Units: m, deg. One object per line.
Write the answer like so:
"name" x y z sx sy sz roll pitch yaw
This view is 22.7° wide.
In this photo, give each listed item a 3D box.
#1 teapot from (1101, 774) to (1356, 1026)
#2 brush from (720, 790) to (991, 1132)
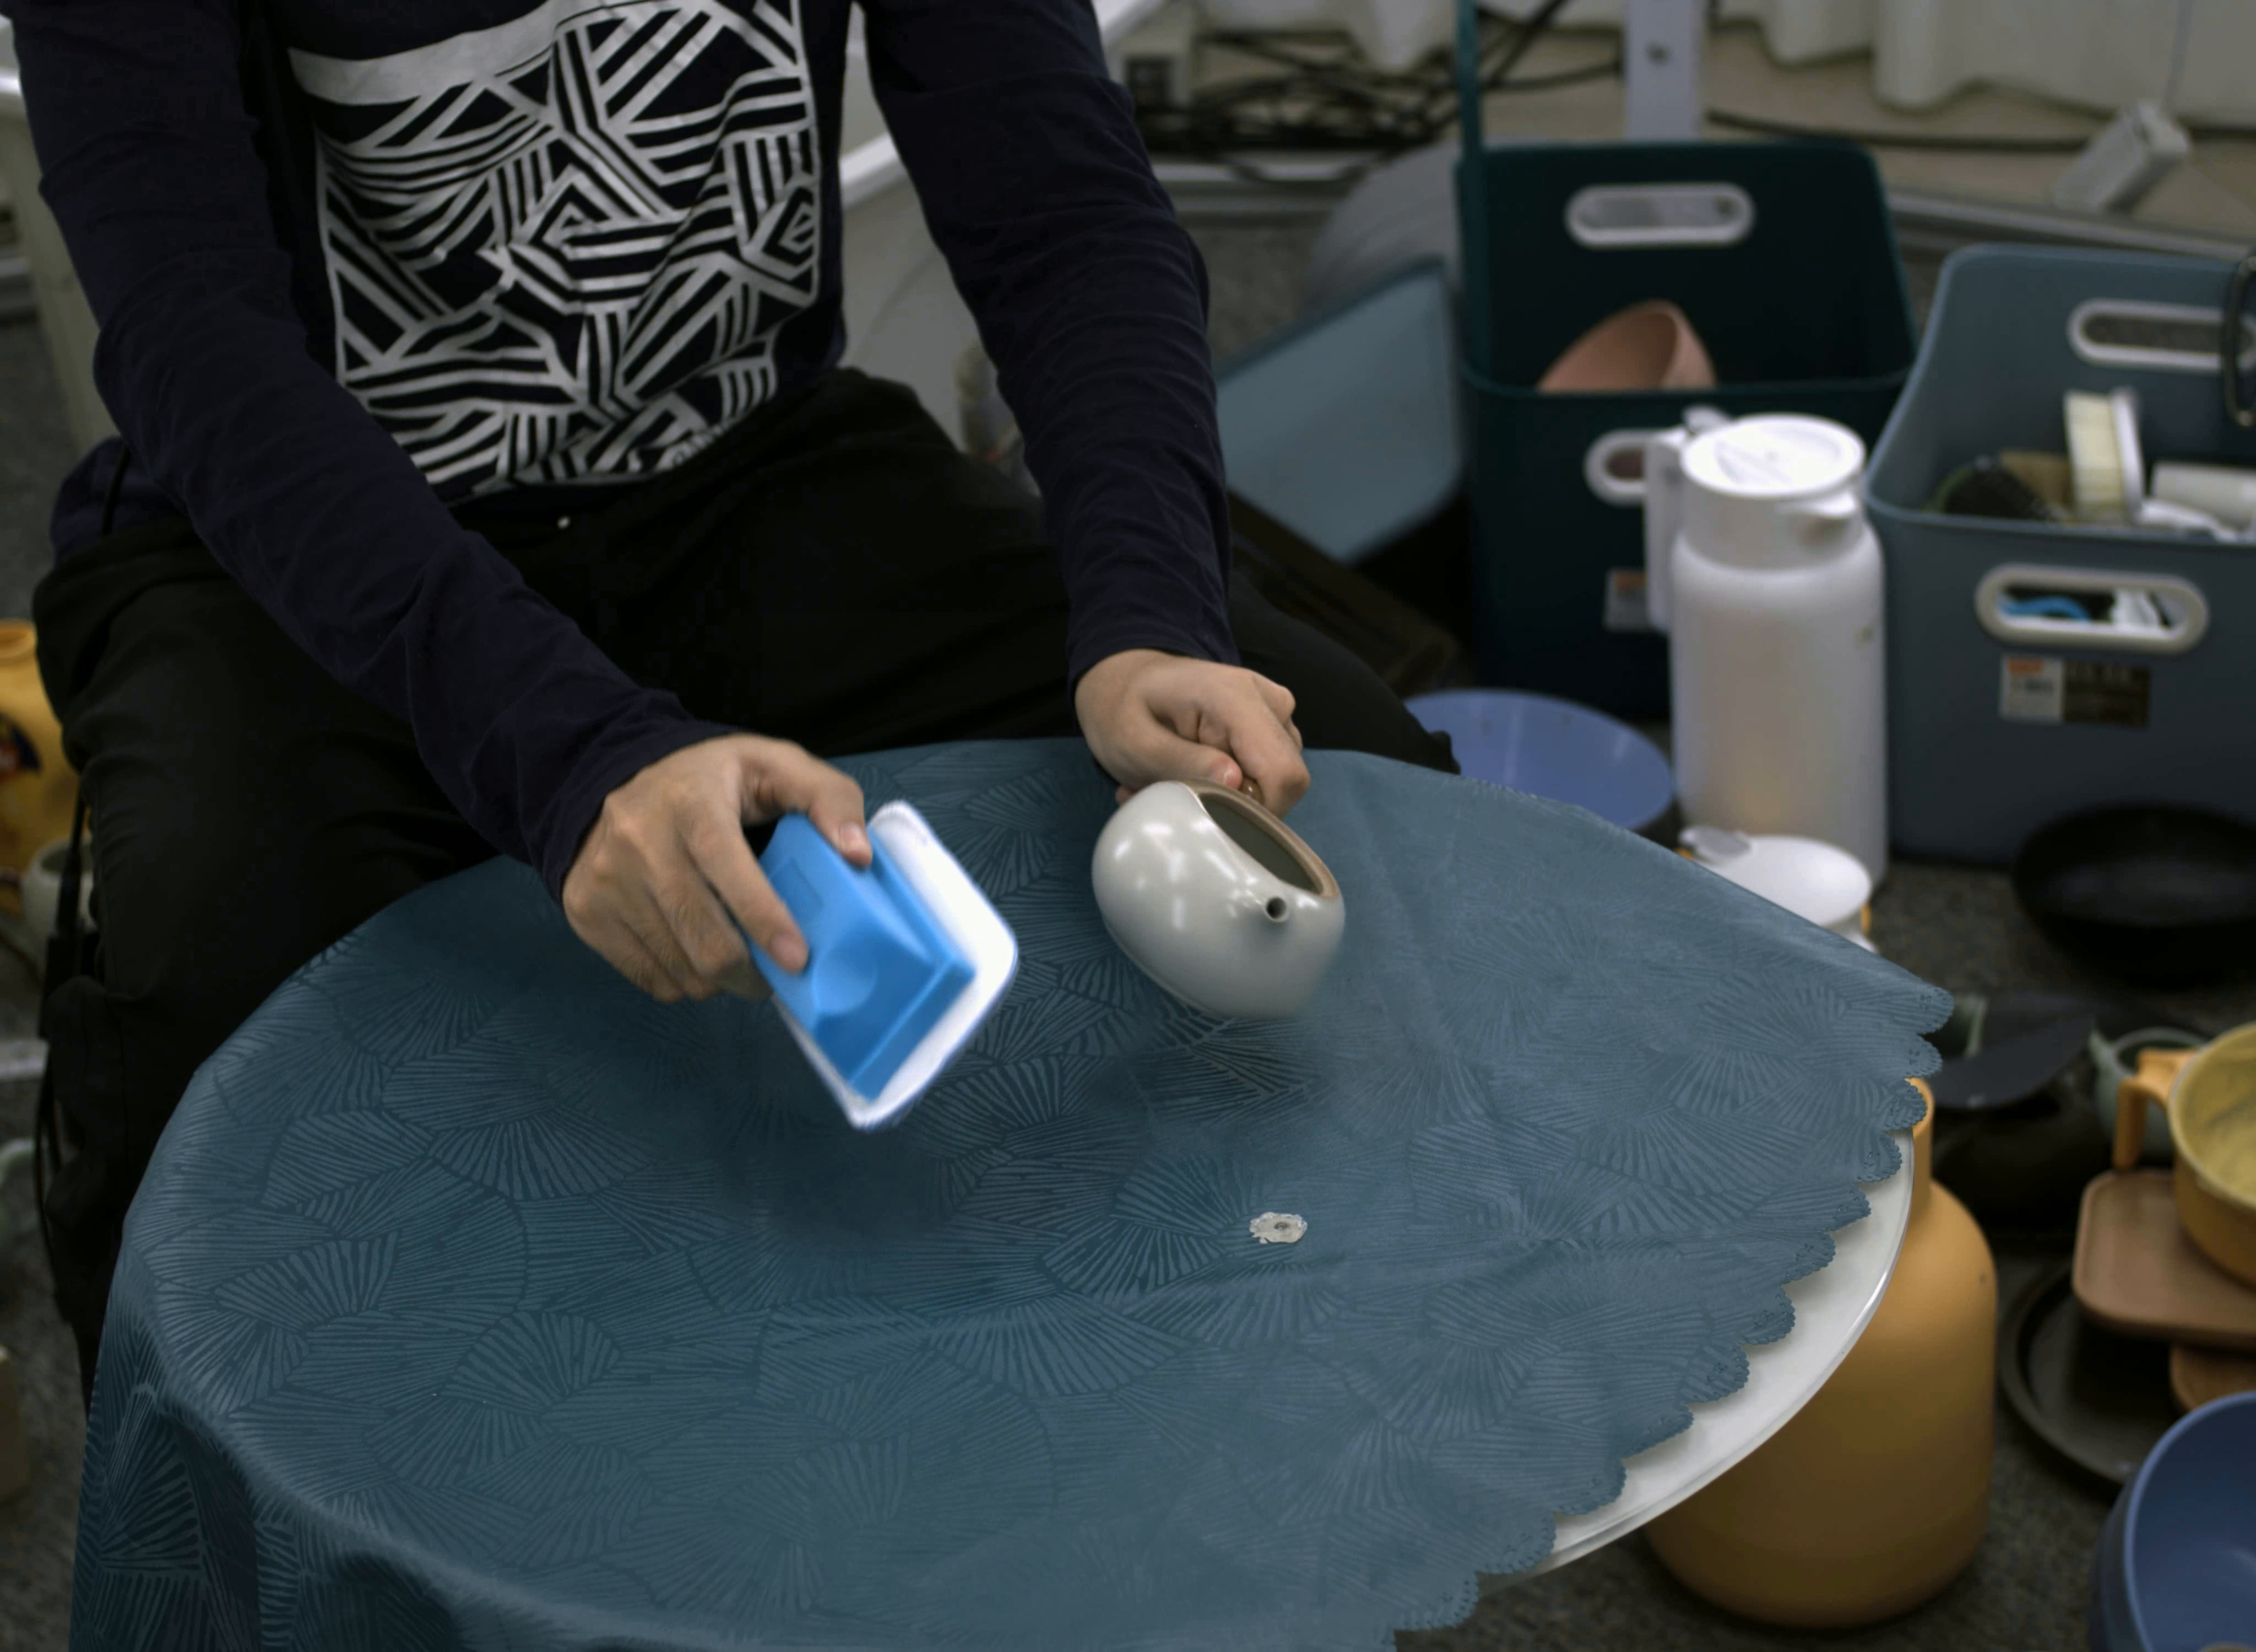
"teapot" 0.033 0.023 1.911 0.091 0.059 0.130 29 19 -18
"brush" -0.098 0.038 1.856 0.083 0.055 0.145 -46 31 7
